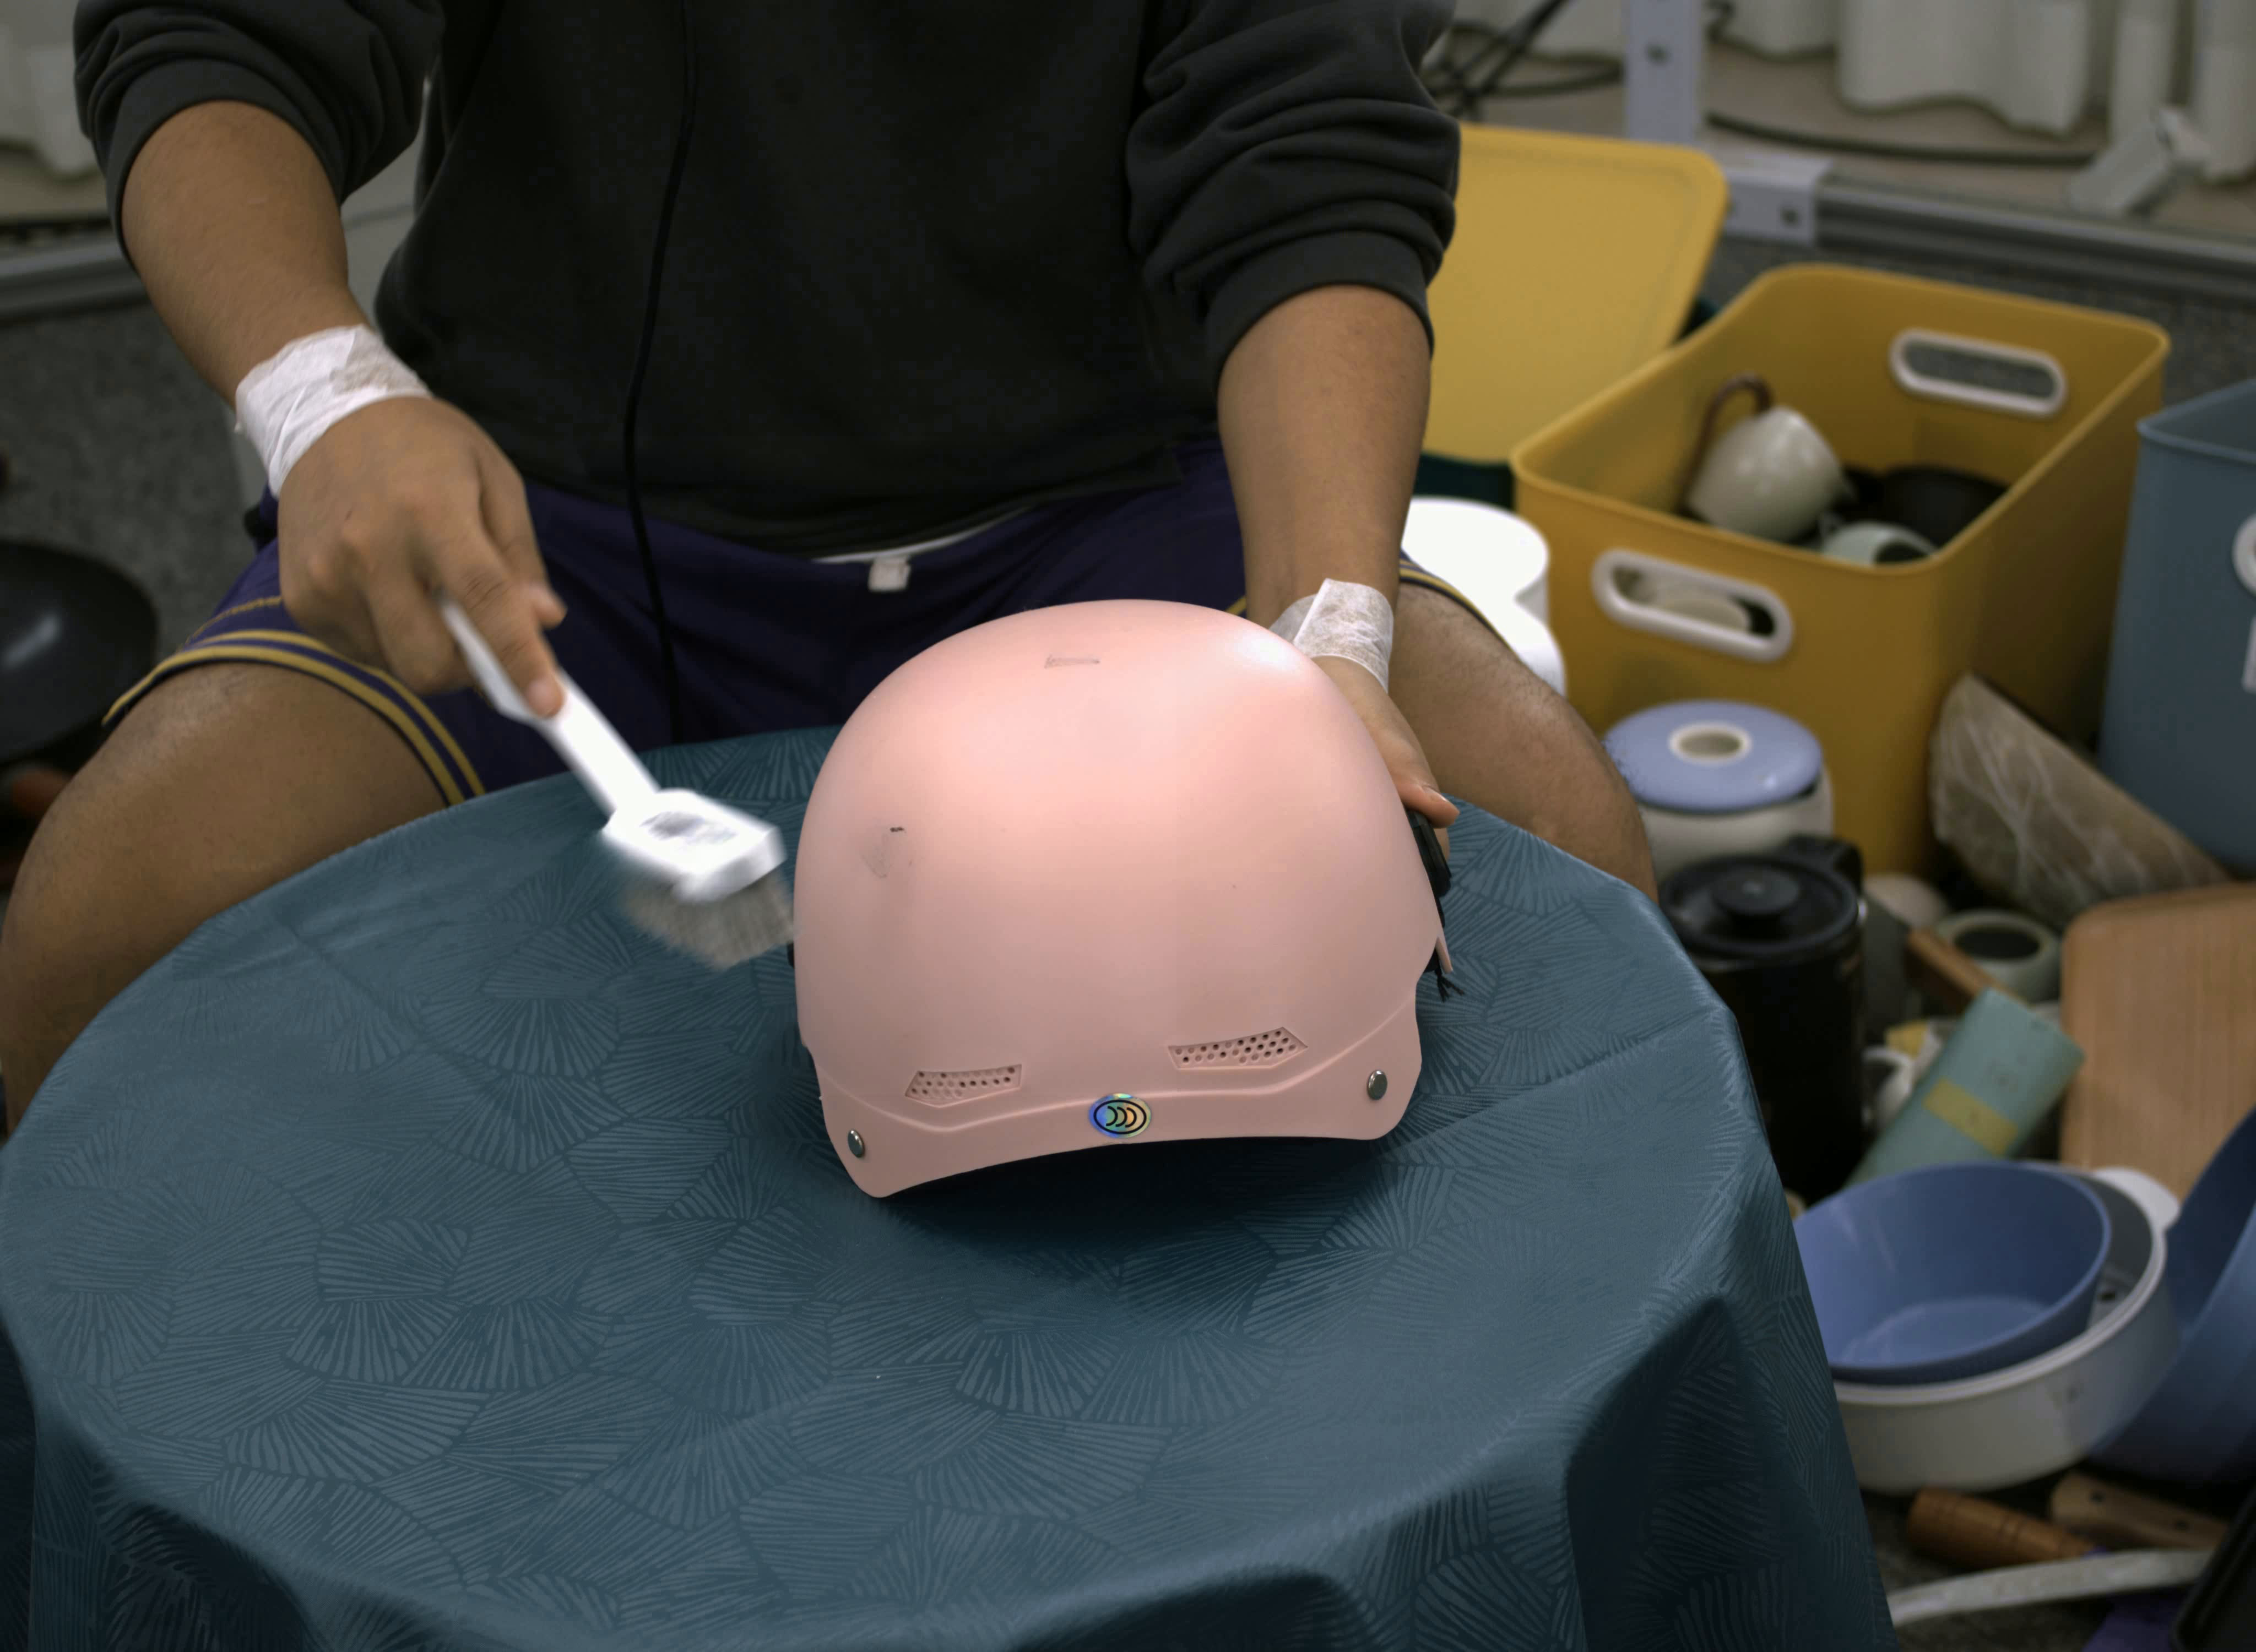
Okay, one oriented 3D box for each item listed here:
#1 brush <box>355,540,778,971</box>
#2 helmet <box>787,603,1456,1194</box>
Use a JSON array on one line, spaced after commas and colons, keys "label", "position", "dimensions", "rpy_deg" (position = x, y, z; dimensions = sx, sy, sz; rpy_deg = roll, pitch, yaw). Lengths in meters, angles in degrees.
[{"label": "brush", "position": [-0.186, -0.022, 1.836], "dimensions": [0.034, 0.049, 0.245], "rpy_deg": [-26, 41, -22]}, {"label": "helmet", "position": [-0.010, 0.003, 1.912], "dimensions": [0.233, 0.157, 0.269], "rpy_deg": [-8, 23, 4]}]
